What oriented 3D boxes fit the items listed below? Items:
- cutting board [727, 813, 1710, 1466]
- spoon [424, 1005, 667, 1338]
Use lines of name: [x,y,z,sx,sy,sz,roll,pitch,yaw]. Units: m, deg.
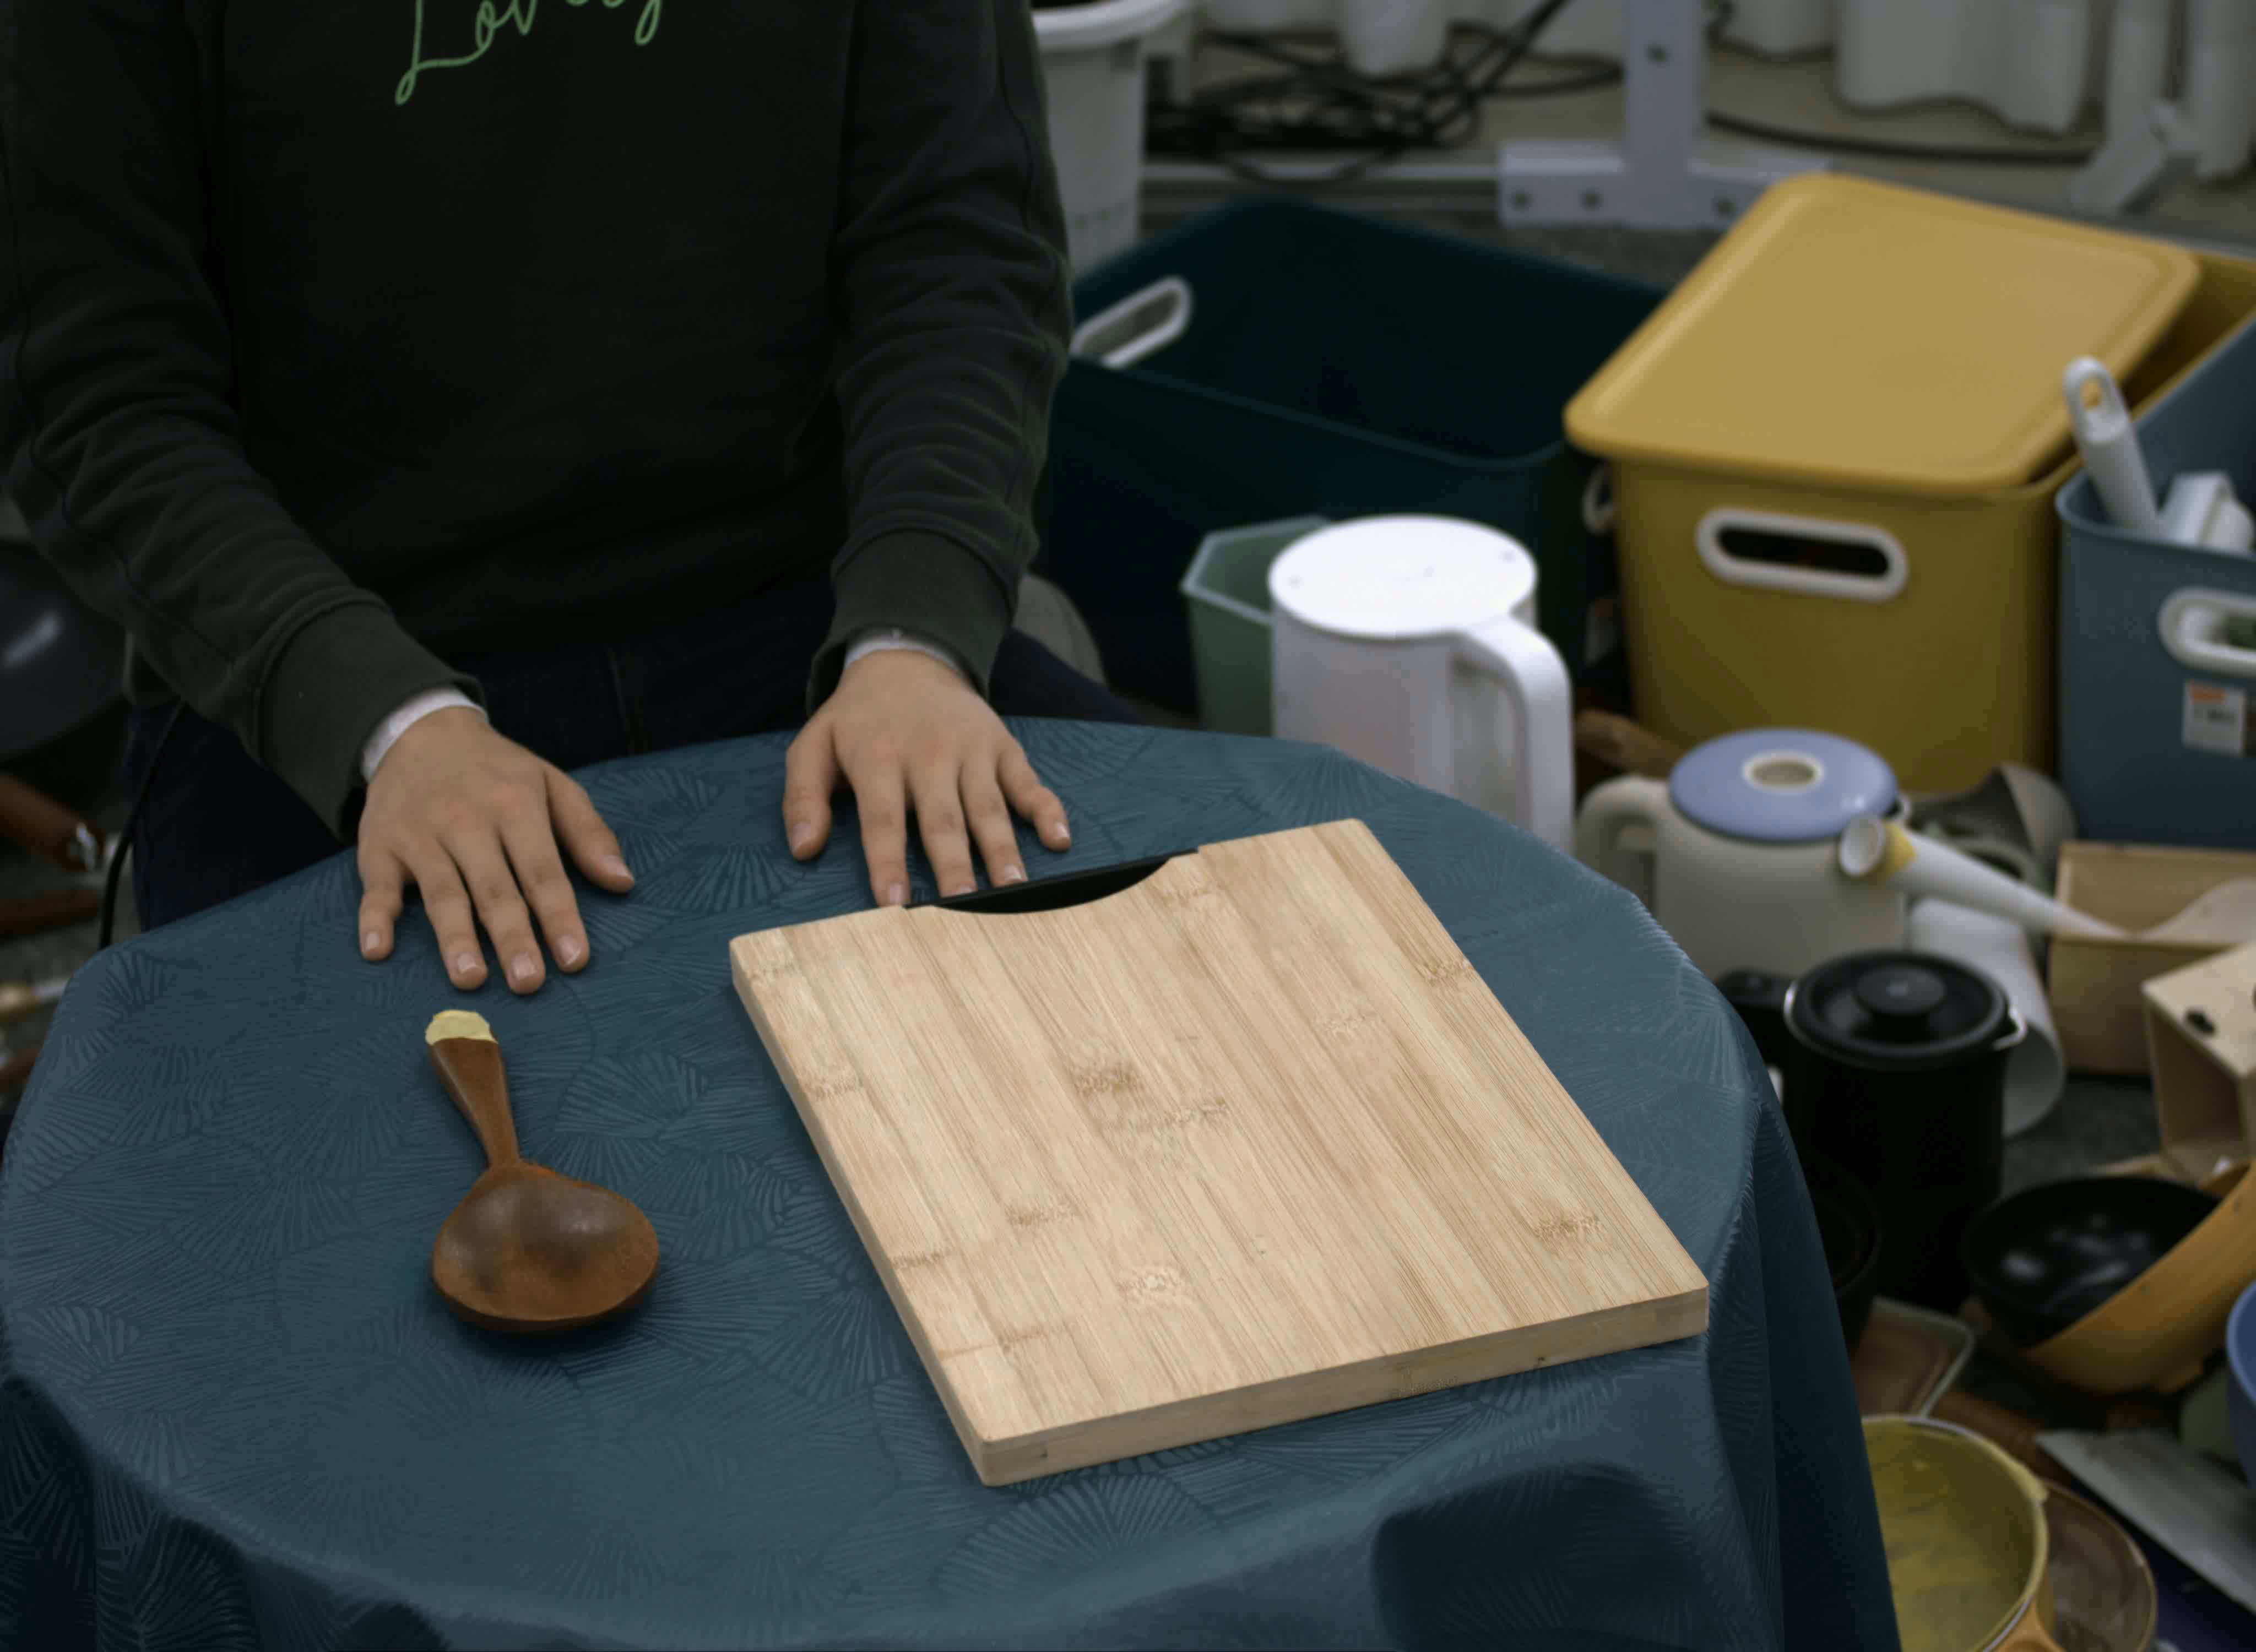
cutting board: [0.020,0.098,1.888,0.251,0.023,0.352,-10,28,-15]
spoon: [-0.205,0.116,1.874,0.075,0.017,0.218,-11,29,-13]
